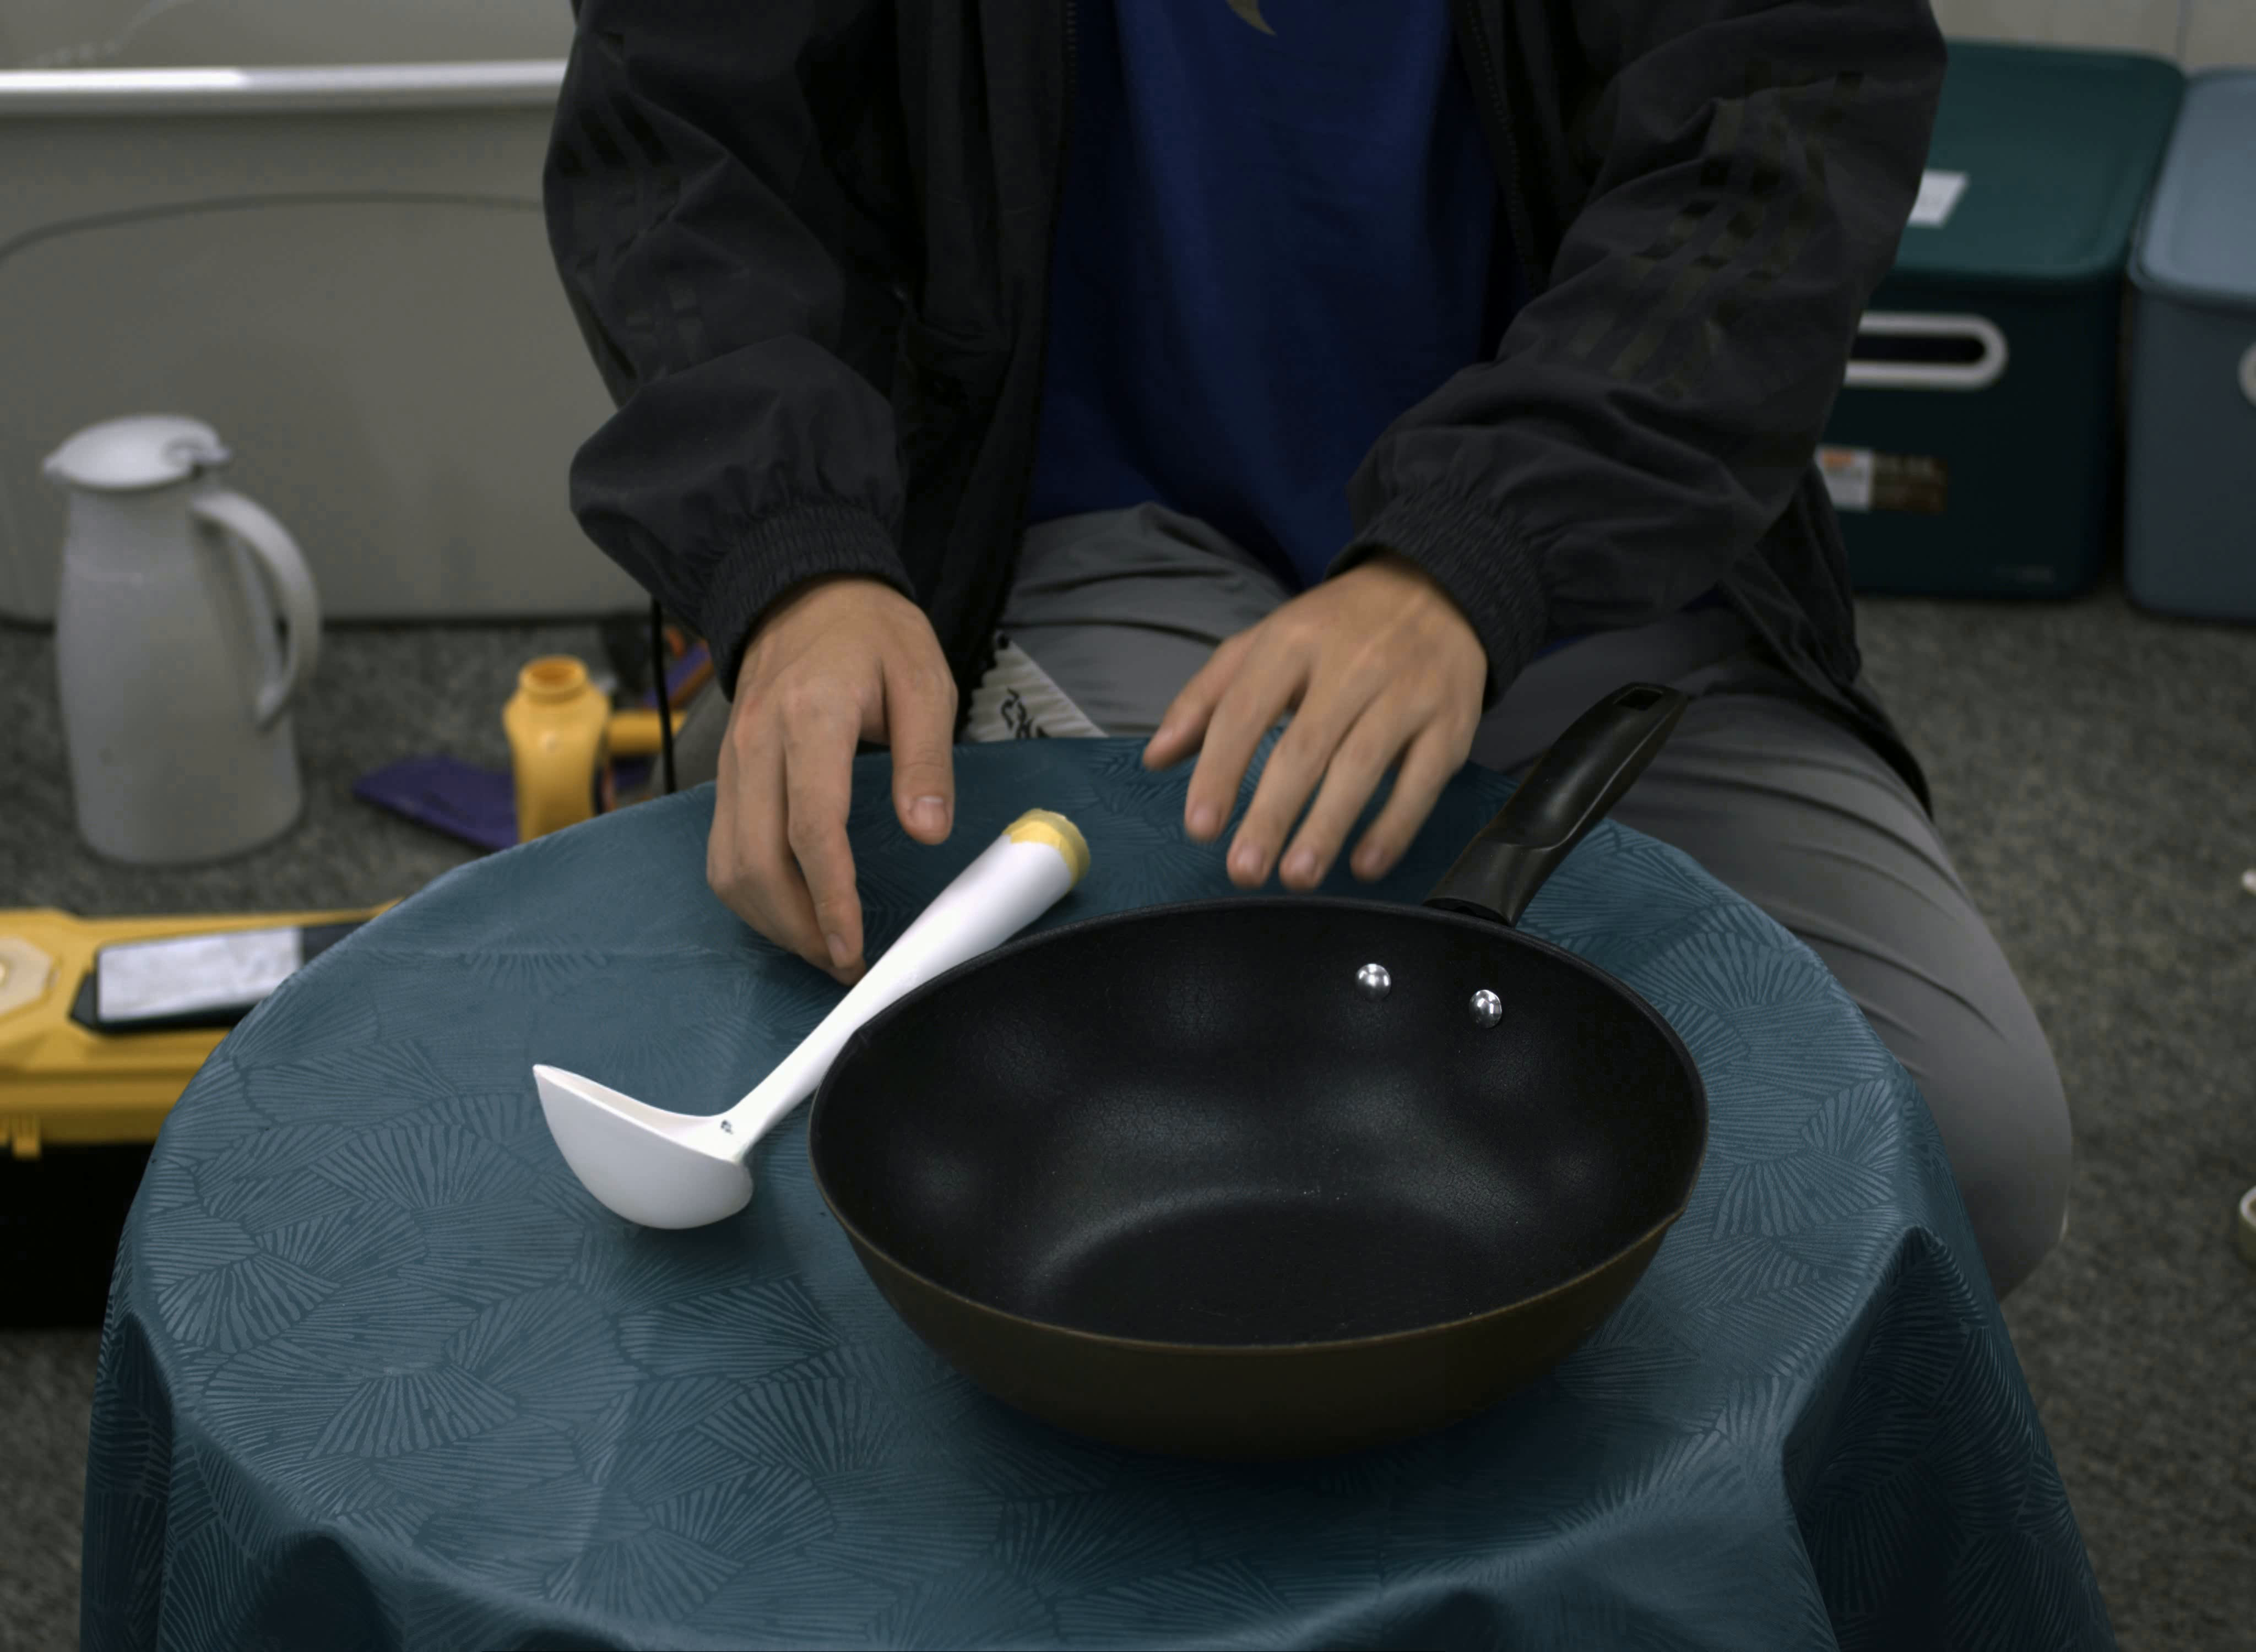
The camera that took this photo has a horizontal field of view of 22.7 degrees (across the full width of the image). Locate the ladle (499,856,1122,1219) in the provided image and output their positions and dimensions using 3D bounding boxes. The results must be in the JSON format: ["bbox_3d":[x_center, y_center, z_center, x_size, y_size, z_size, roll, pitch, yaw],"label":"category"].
[{"bbox_3d":[-0.098,0.060,1.926,0.090,0.069,0.297,14,29,32],"label":"ladle"}]

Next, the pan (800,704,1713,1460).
[{"bbox_3d":[0.082,0.083,1.840,0.286,0.086,0.471,11,29,25],"label":"pan"}]
